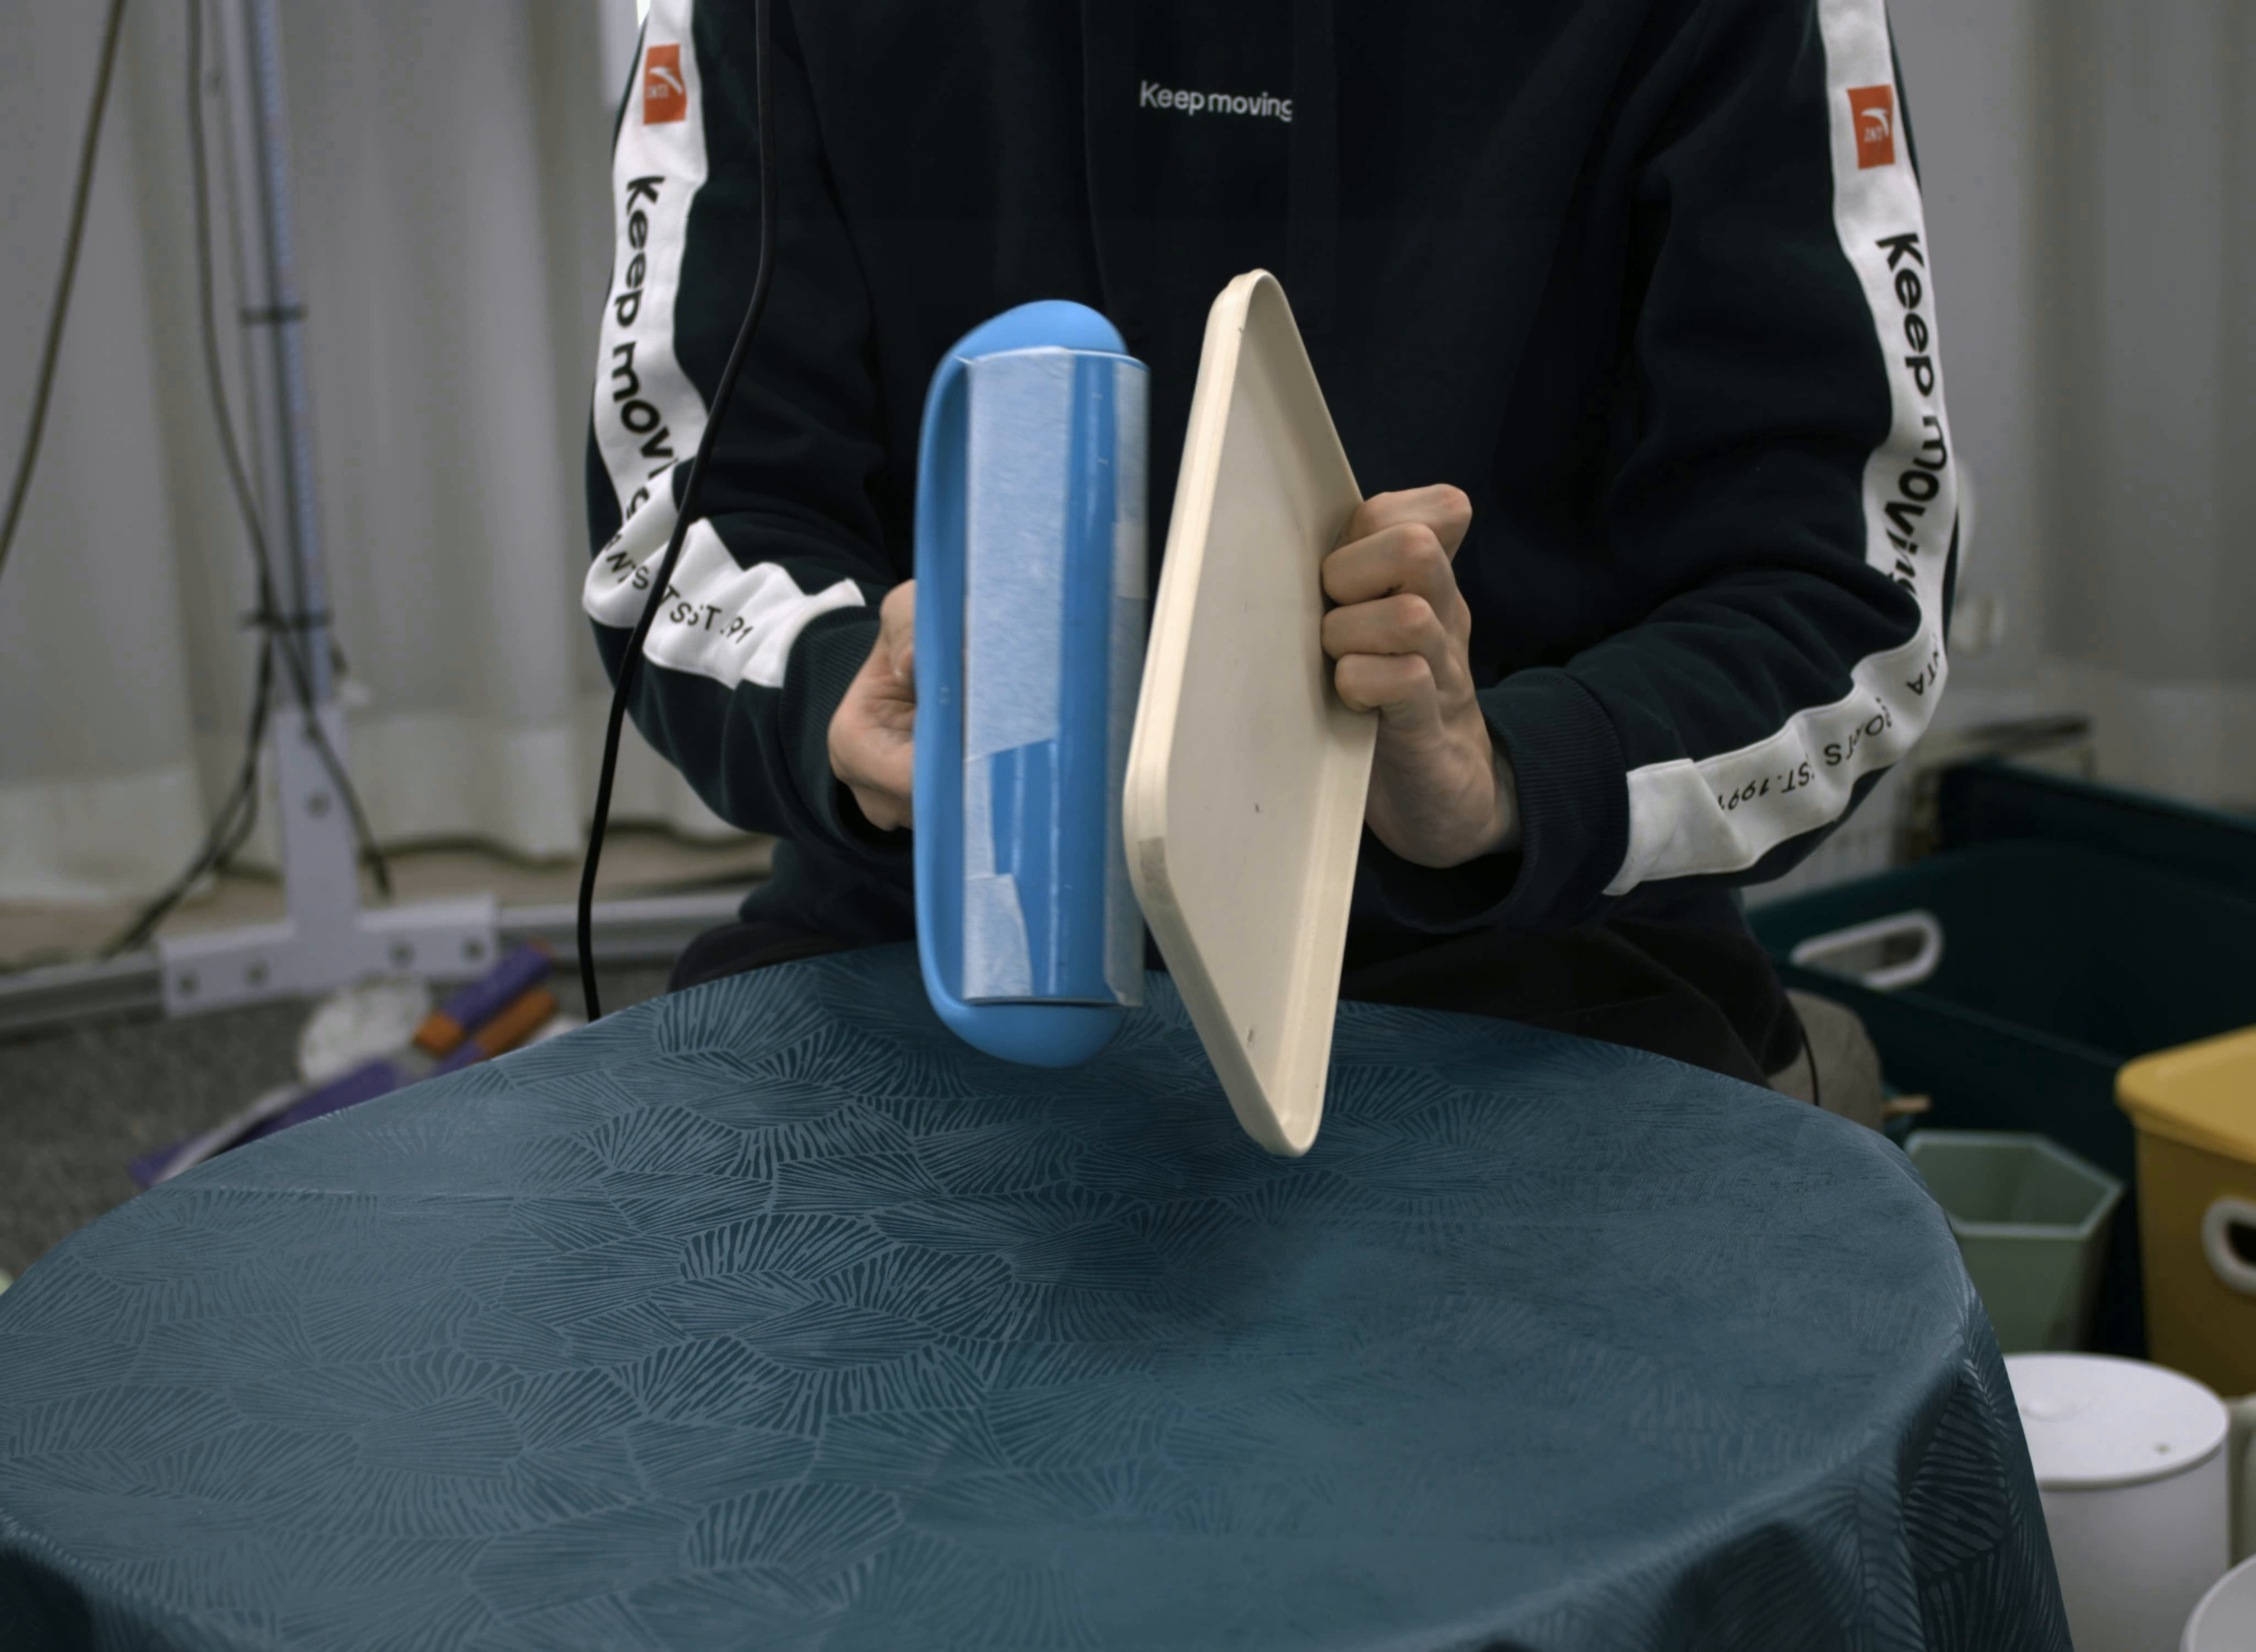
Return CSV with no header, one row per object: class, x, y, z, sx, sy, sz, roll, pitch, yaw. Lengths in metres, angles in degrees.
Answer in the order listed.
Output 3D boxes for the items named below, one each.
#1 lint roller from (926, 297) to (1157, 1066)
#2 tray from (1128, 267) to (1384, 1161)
lint roller,-0.032,-0.036,1.683,0.067,0.230,0.180,1,-9,-12
tray,0.039,-0.034,1.627,0.017,0.169,0.243,-4,49,17
